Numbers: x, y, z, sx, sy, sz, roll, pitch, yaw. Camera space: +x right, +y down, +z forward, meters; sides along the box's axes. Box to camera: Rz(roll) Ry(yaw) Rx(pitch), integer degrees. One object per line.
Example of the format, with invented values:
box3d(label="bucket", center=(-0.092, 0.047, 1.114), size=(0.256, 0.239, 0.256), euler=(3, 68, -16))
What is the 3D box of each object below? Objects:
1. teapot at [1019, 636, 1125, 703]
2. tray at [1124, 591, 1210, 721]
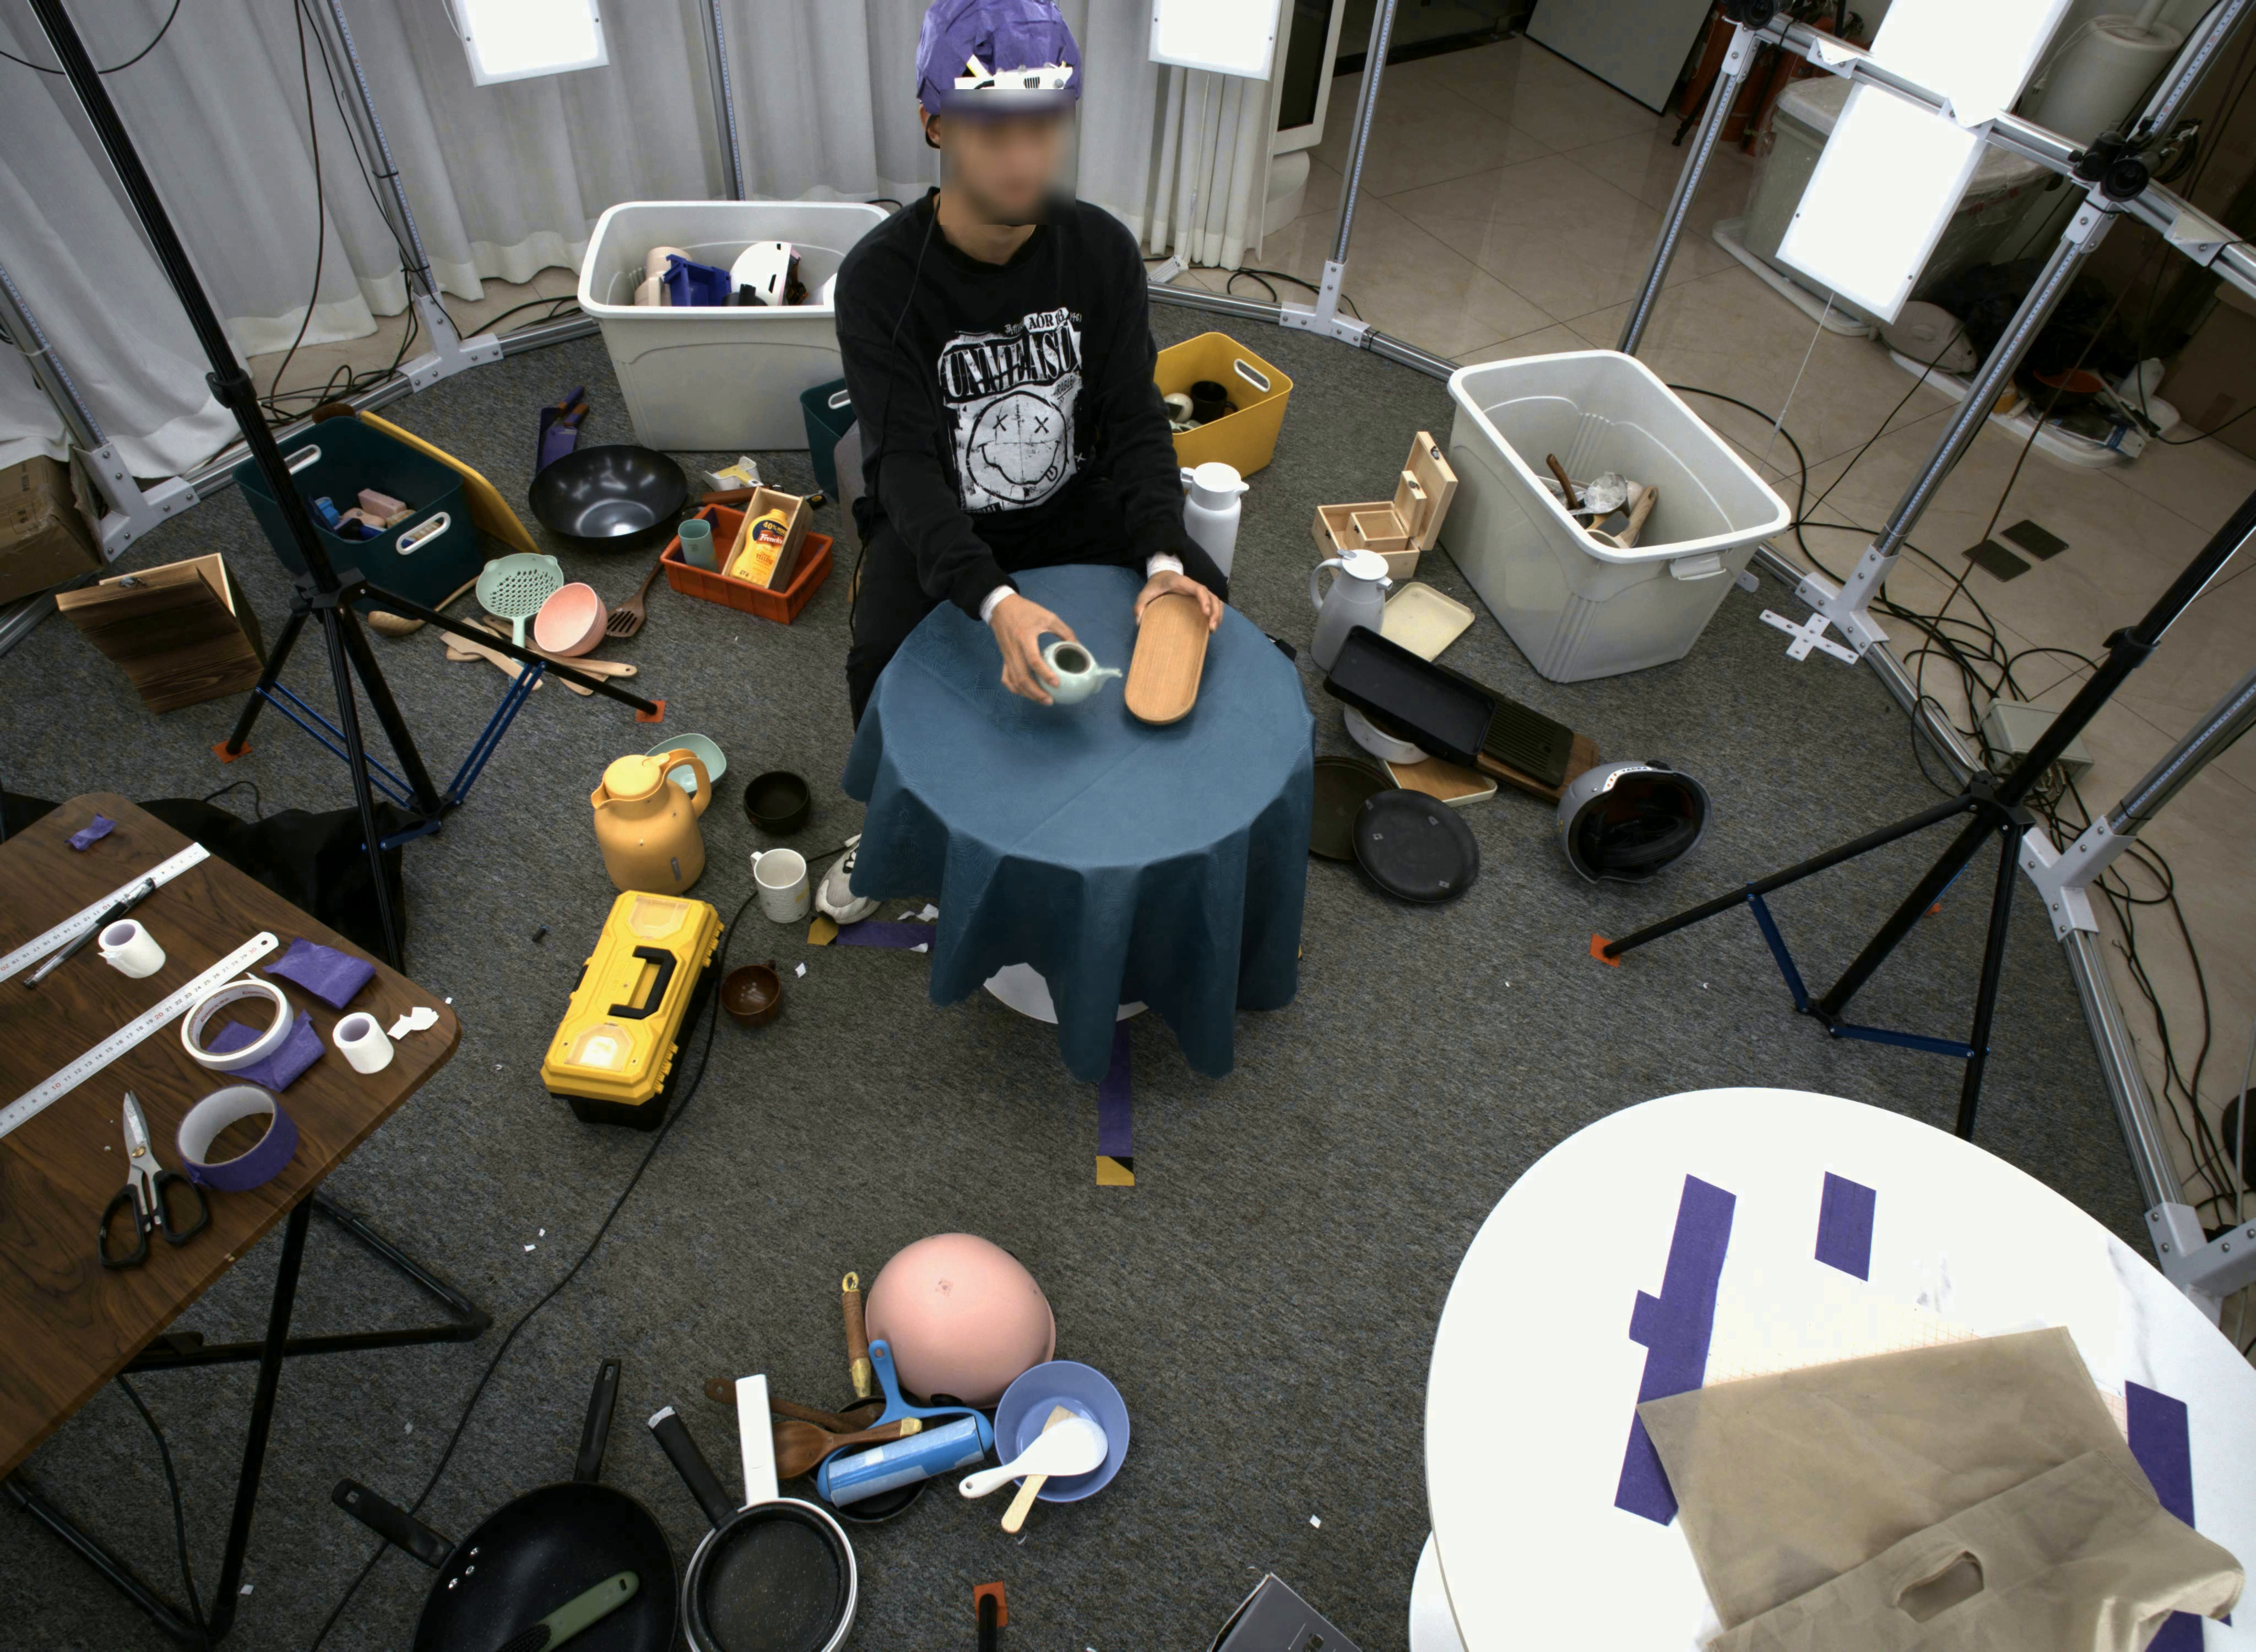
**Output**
box3d(label="teapot", center=(-0.082, -0.211, 1.744), size=(0.143, 0.073, 0.090), euler=(21, 50, -12))
box3d(label="tray", center=(0.057, -0.244, 1.832), size=(0.102, 0.020, 0.236), euler=(6, 56, 10))
